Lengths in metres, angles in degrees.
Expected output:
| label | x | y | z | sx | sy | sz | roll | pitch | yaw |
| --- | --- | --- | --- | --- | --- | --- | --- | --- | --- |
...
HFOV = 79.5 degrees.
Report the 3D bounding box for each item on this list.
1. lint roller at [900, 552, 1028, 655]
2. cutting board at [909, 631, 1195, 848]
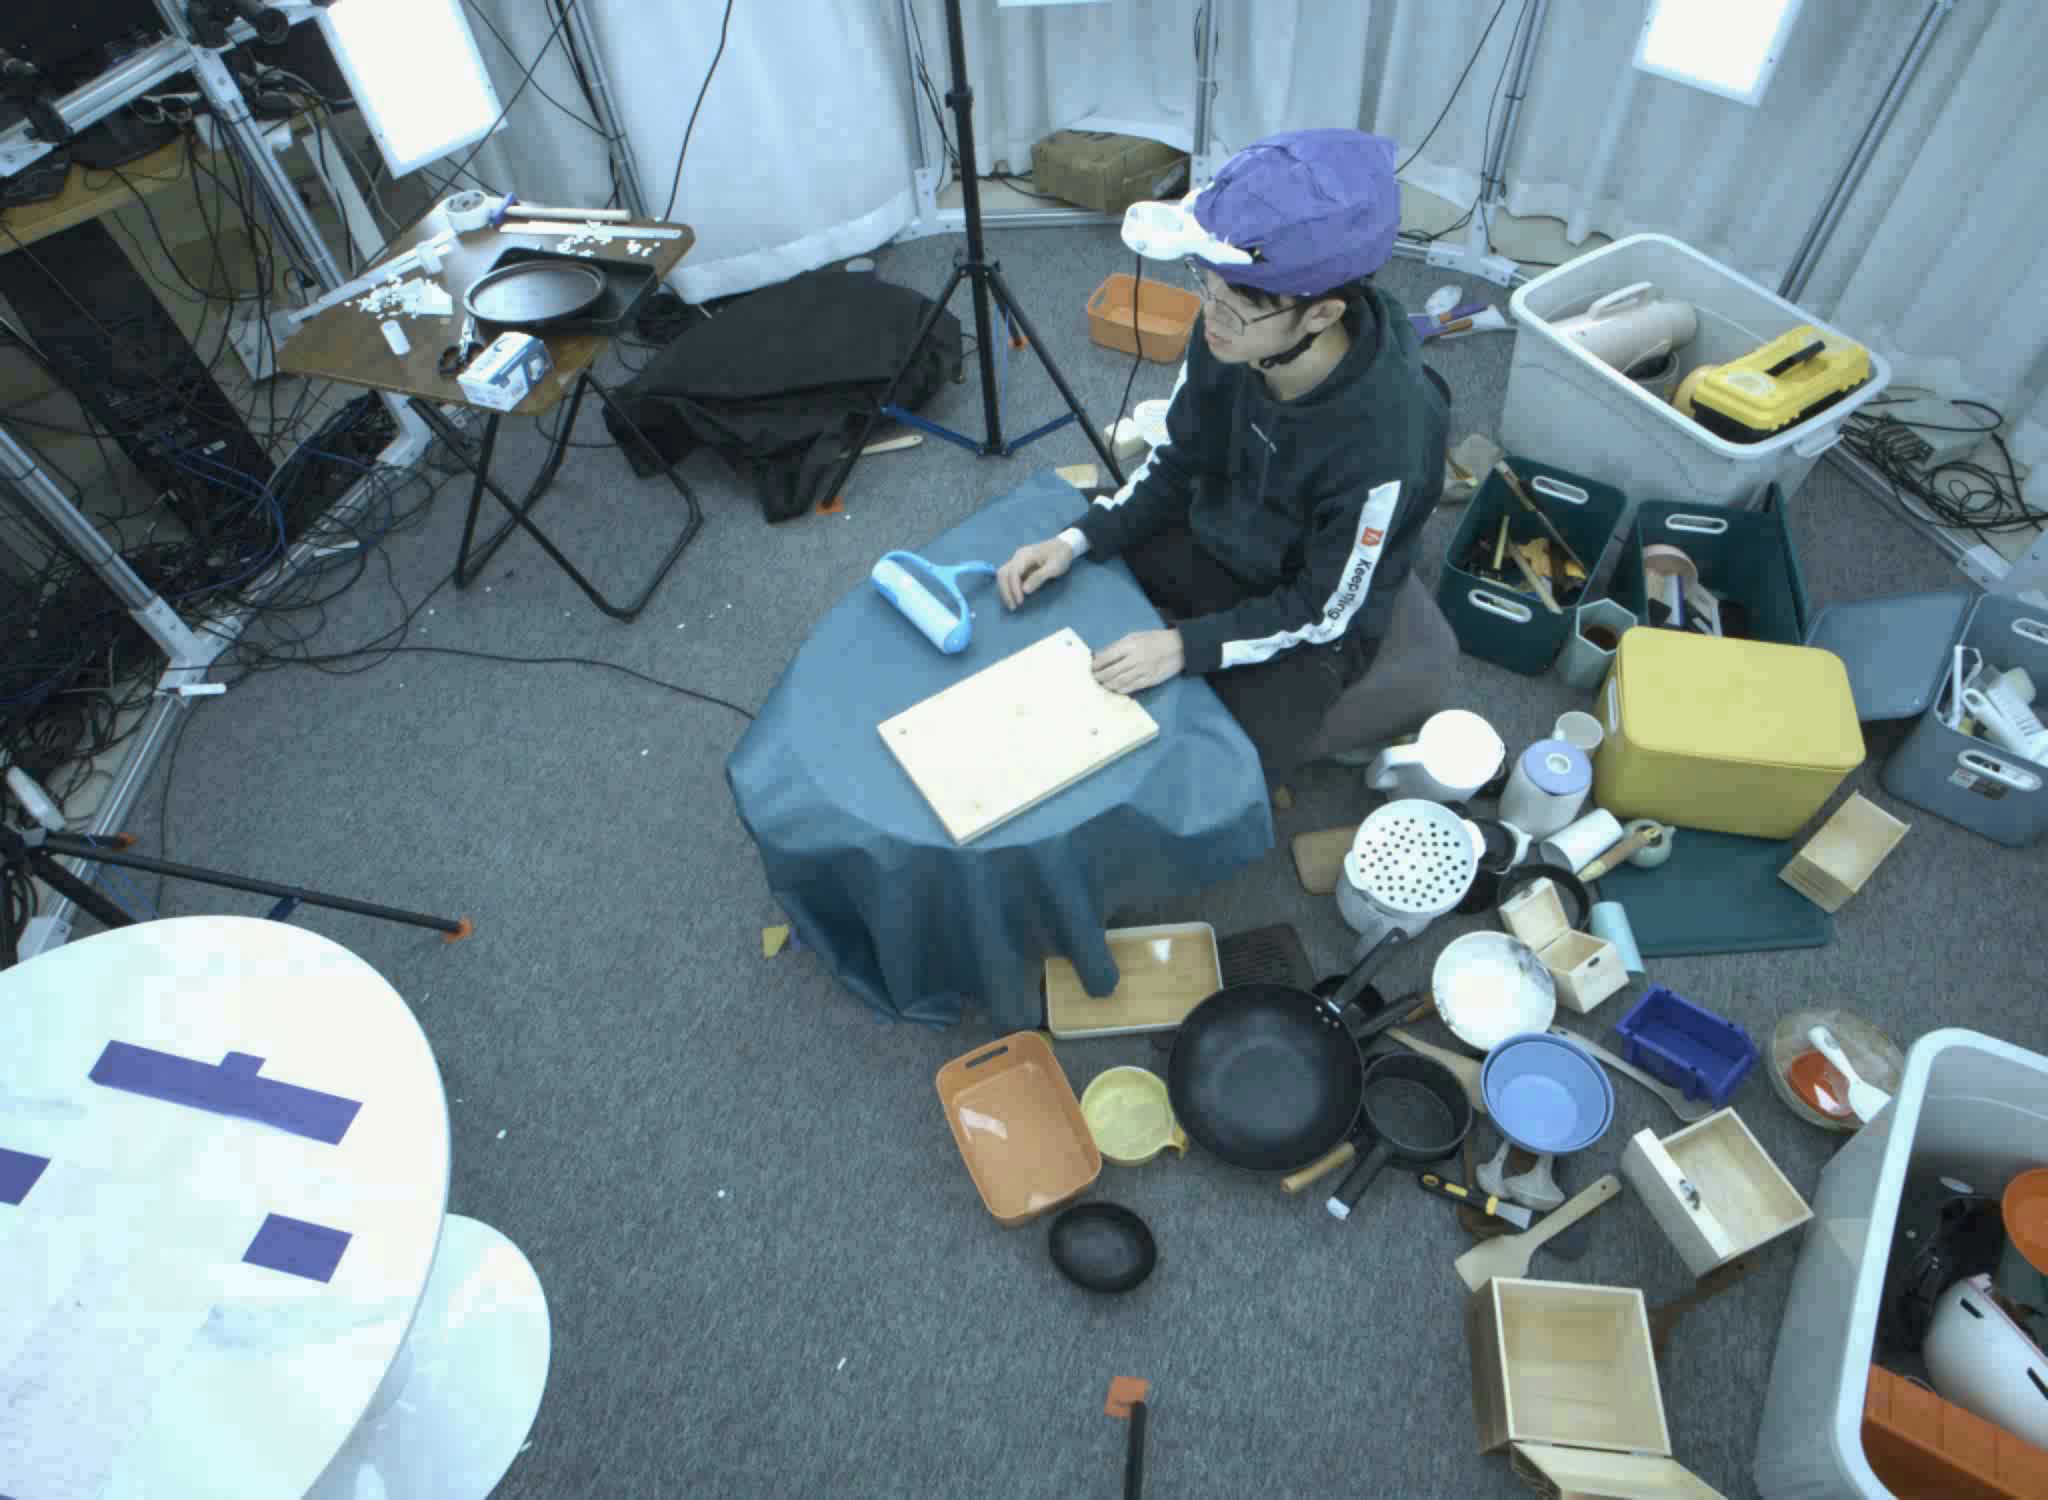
| label | x | y | z | sx | sy | sz | roll | pitch | yaw |
| --- | --- | --- | --- | --- | --- | --- | --- | --- | --- |
| lint roller | -0.073 | -0.257 | 1.933 | 0.181 | 0.069 | 0.224 | -36 | 59 | -20 |
| cutting board | 0.035 | -0.024 | 1.789 | 0.351 | 0.024 | 0.246 | -28 | 58 | -17 |
